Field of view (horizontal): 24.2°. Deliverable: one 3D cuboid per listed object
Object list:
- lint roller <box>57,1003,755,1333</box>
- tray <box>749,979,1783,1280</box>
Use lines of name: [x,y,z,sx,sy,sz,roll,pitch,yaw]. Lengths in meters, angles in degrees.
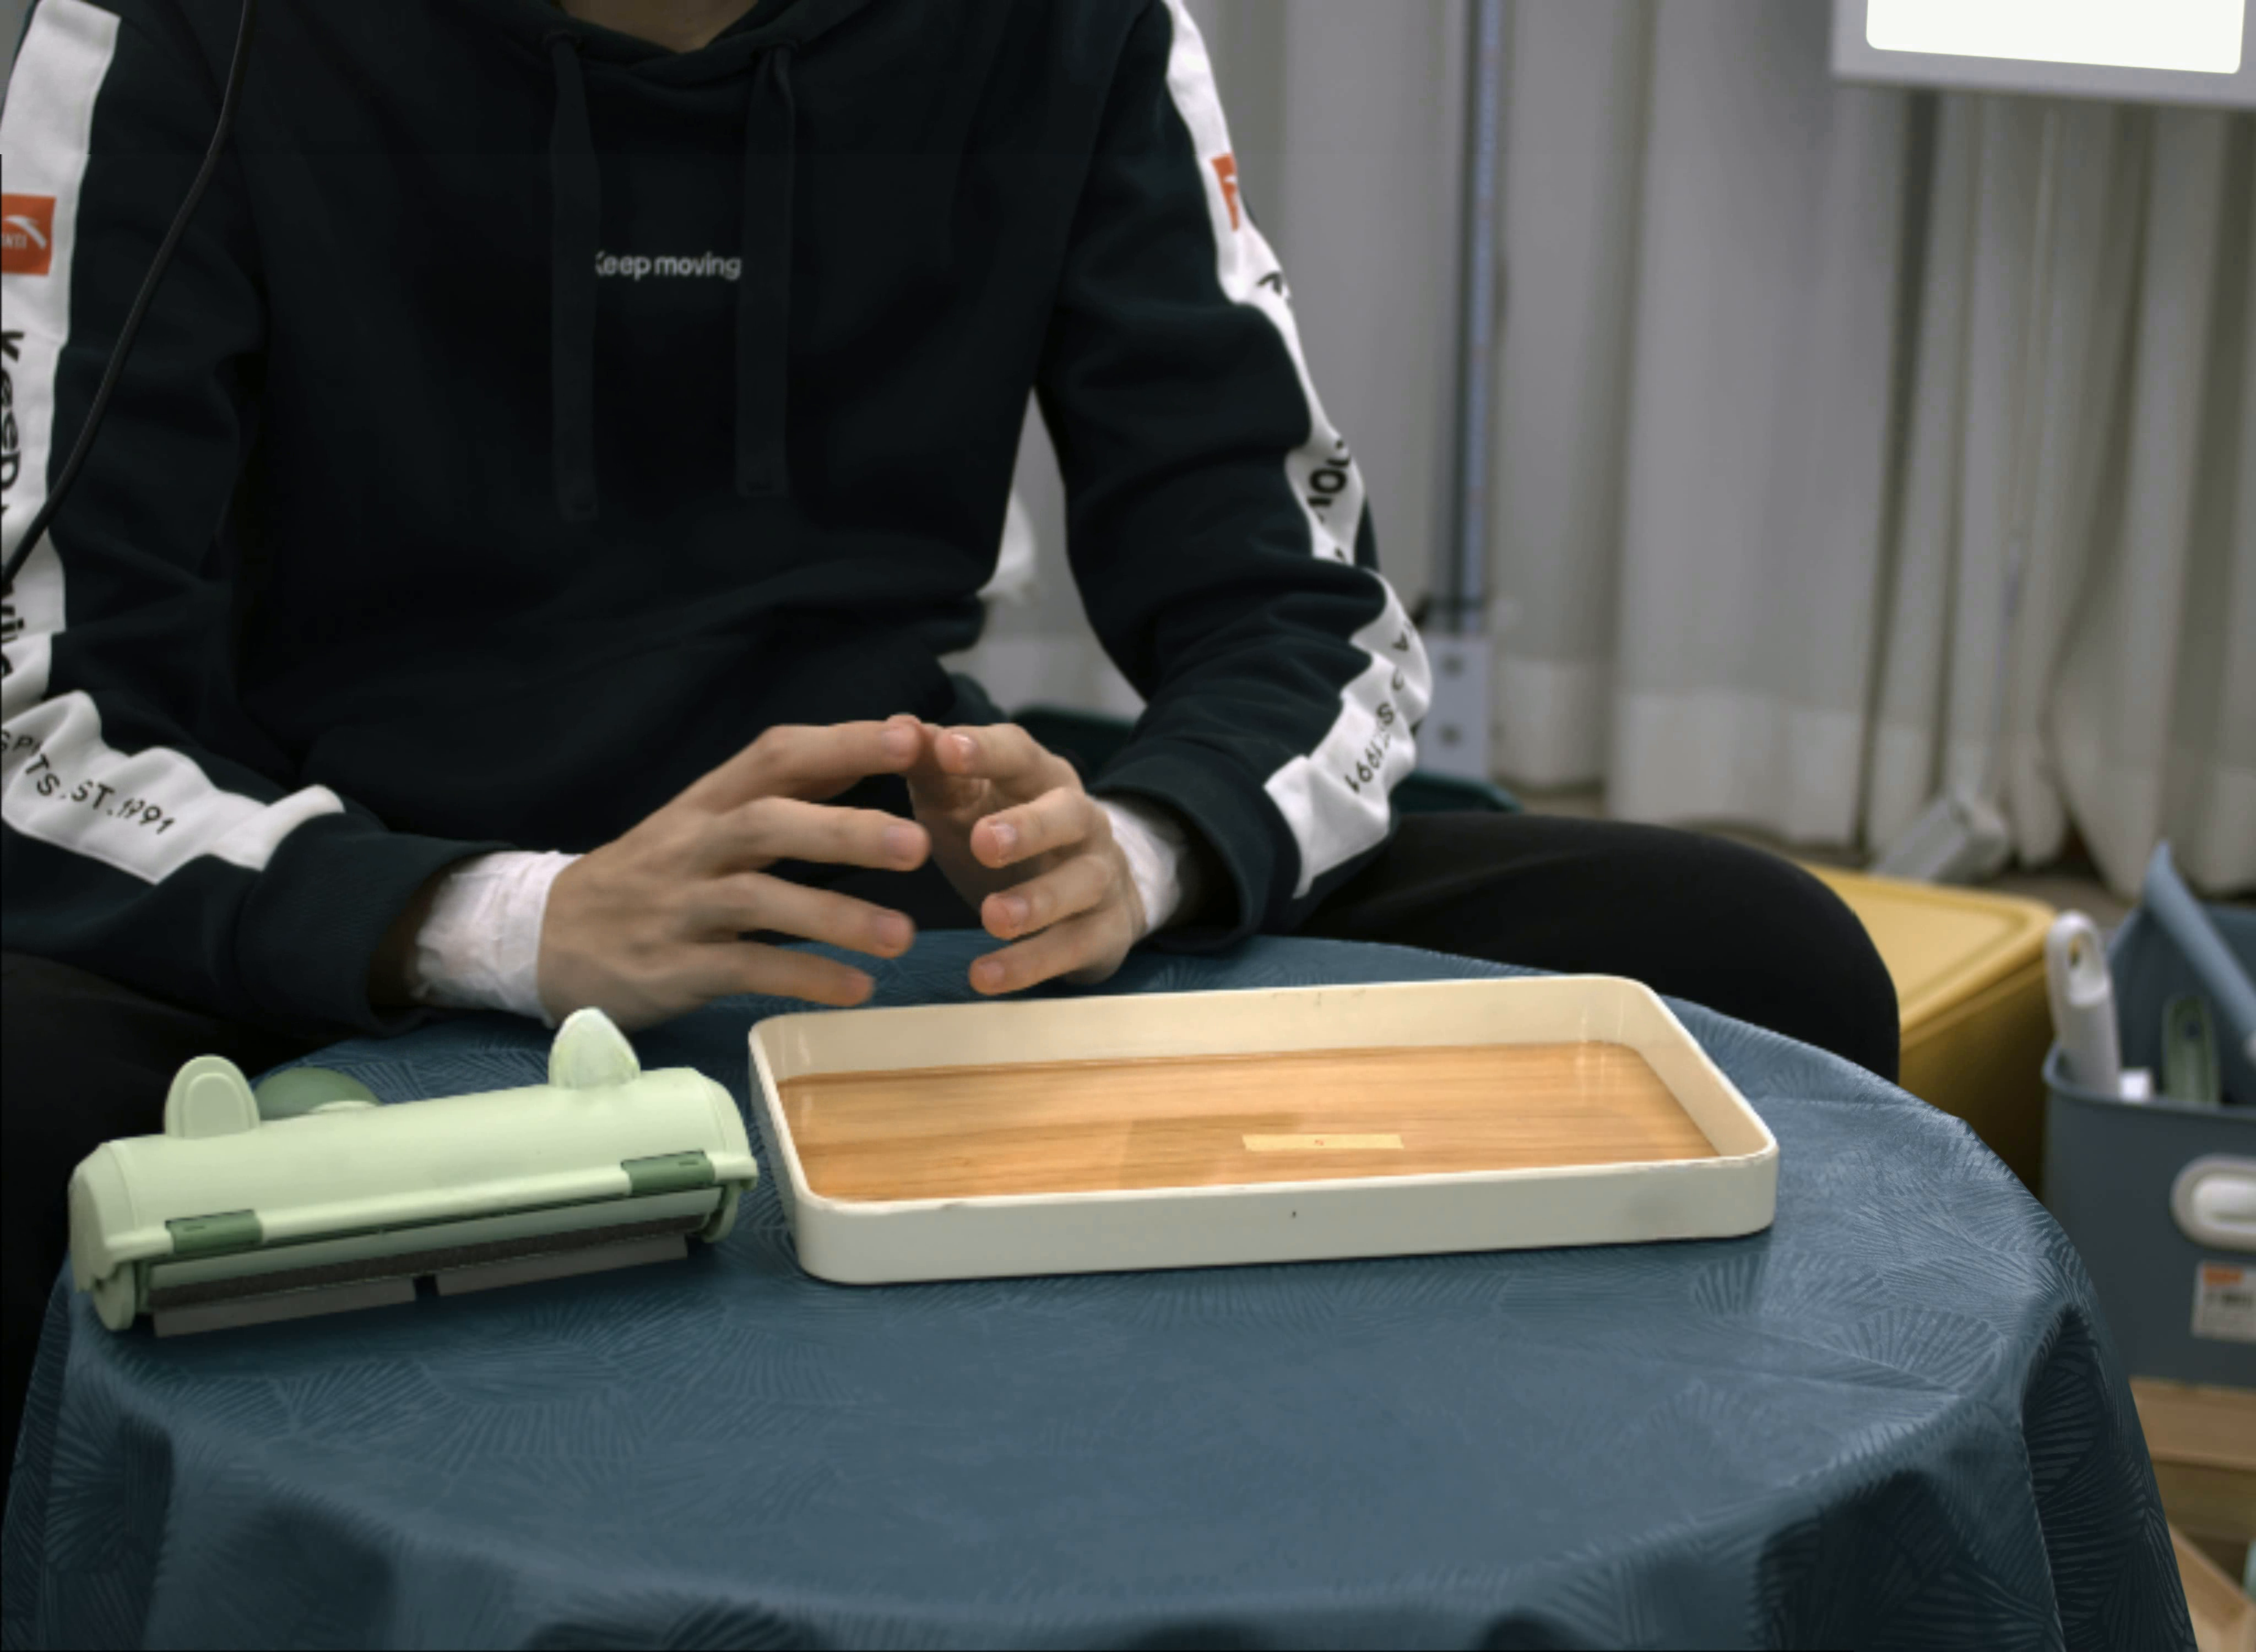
lint roller: [-0.231,0.083,1.571,0.199,0.083,0.181,-7,21,-24]
tray: [0.038,0.092,1.642,0.300,0.027,0.190,-2,15,-9]
